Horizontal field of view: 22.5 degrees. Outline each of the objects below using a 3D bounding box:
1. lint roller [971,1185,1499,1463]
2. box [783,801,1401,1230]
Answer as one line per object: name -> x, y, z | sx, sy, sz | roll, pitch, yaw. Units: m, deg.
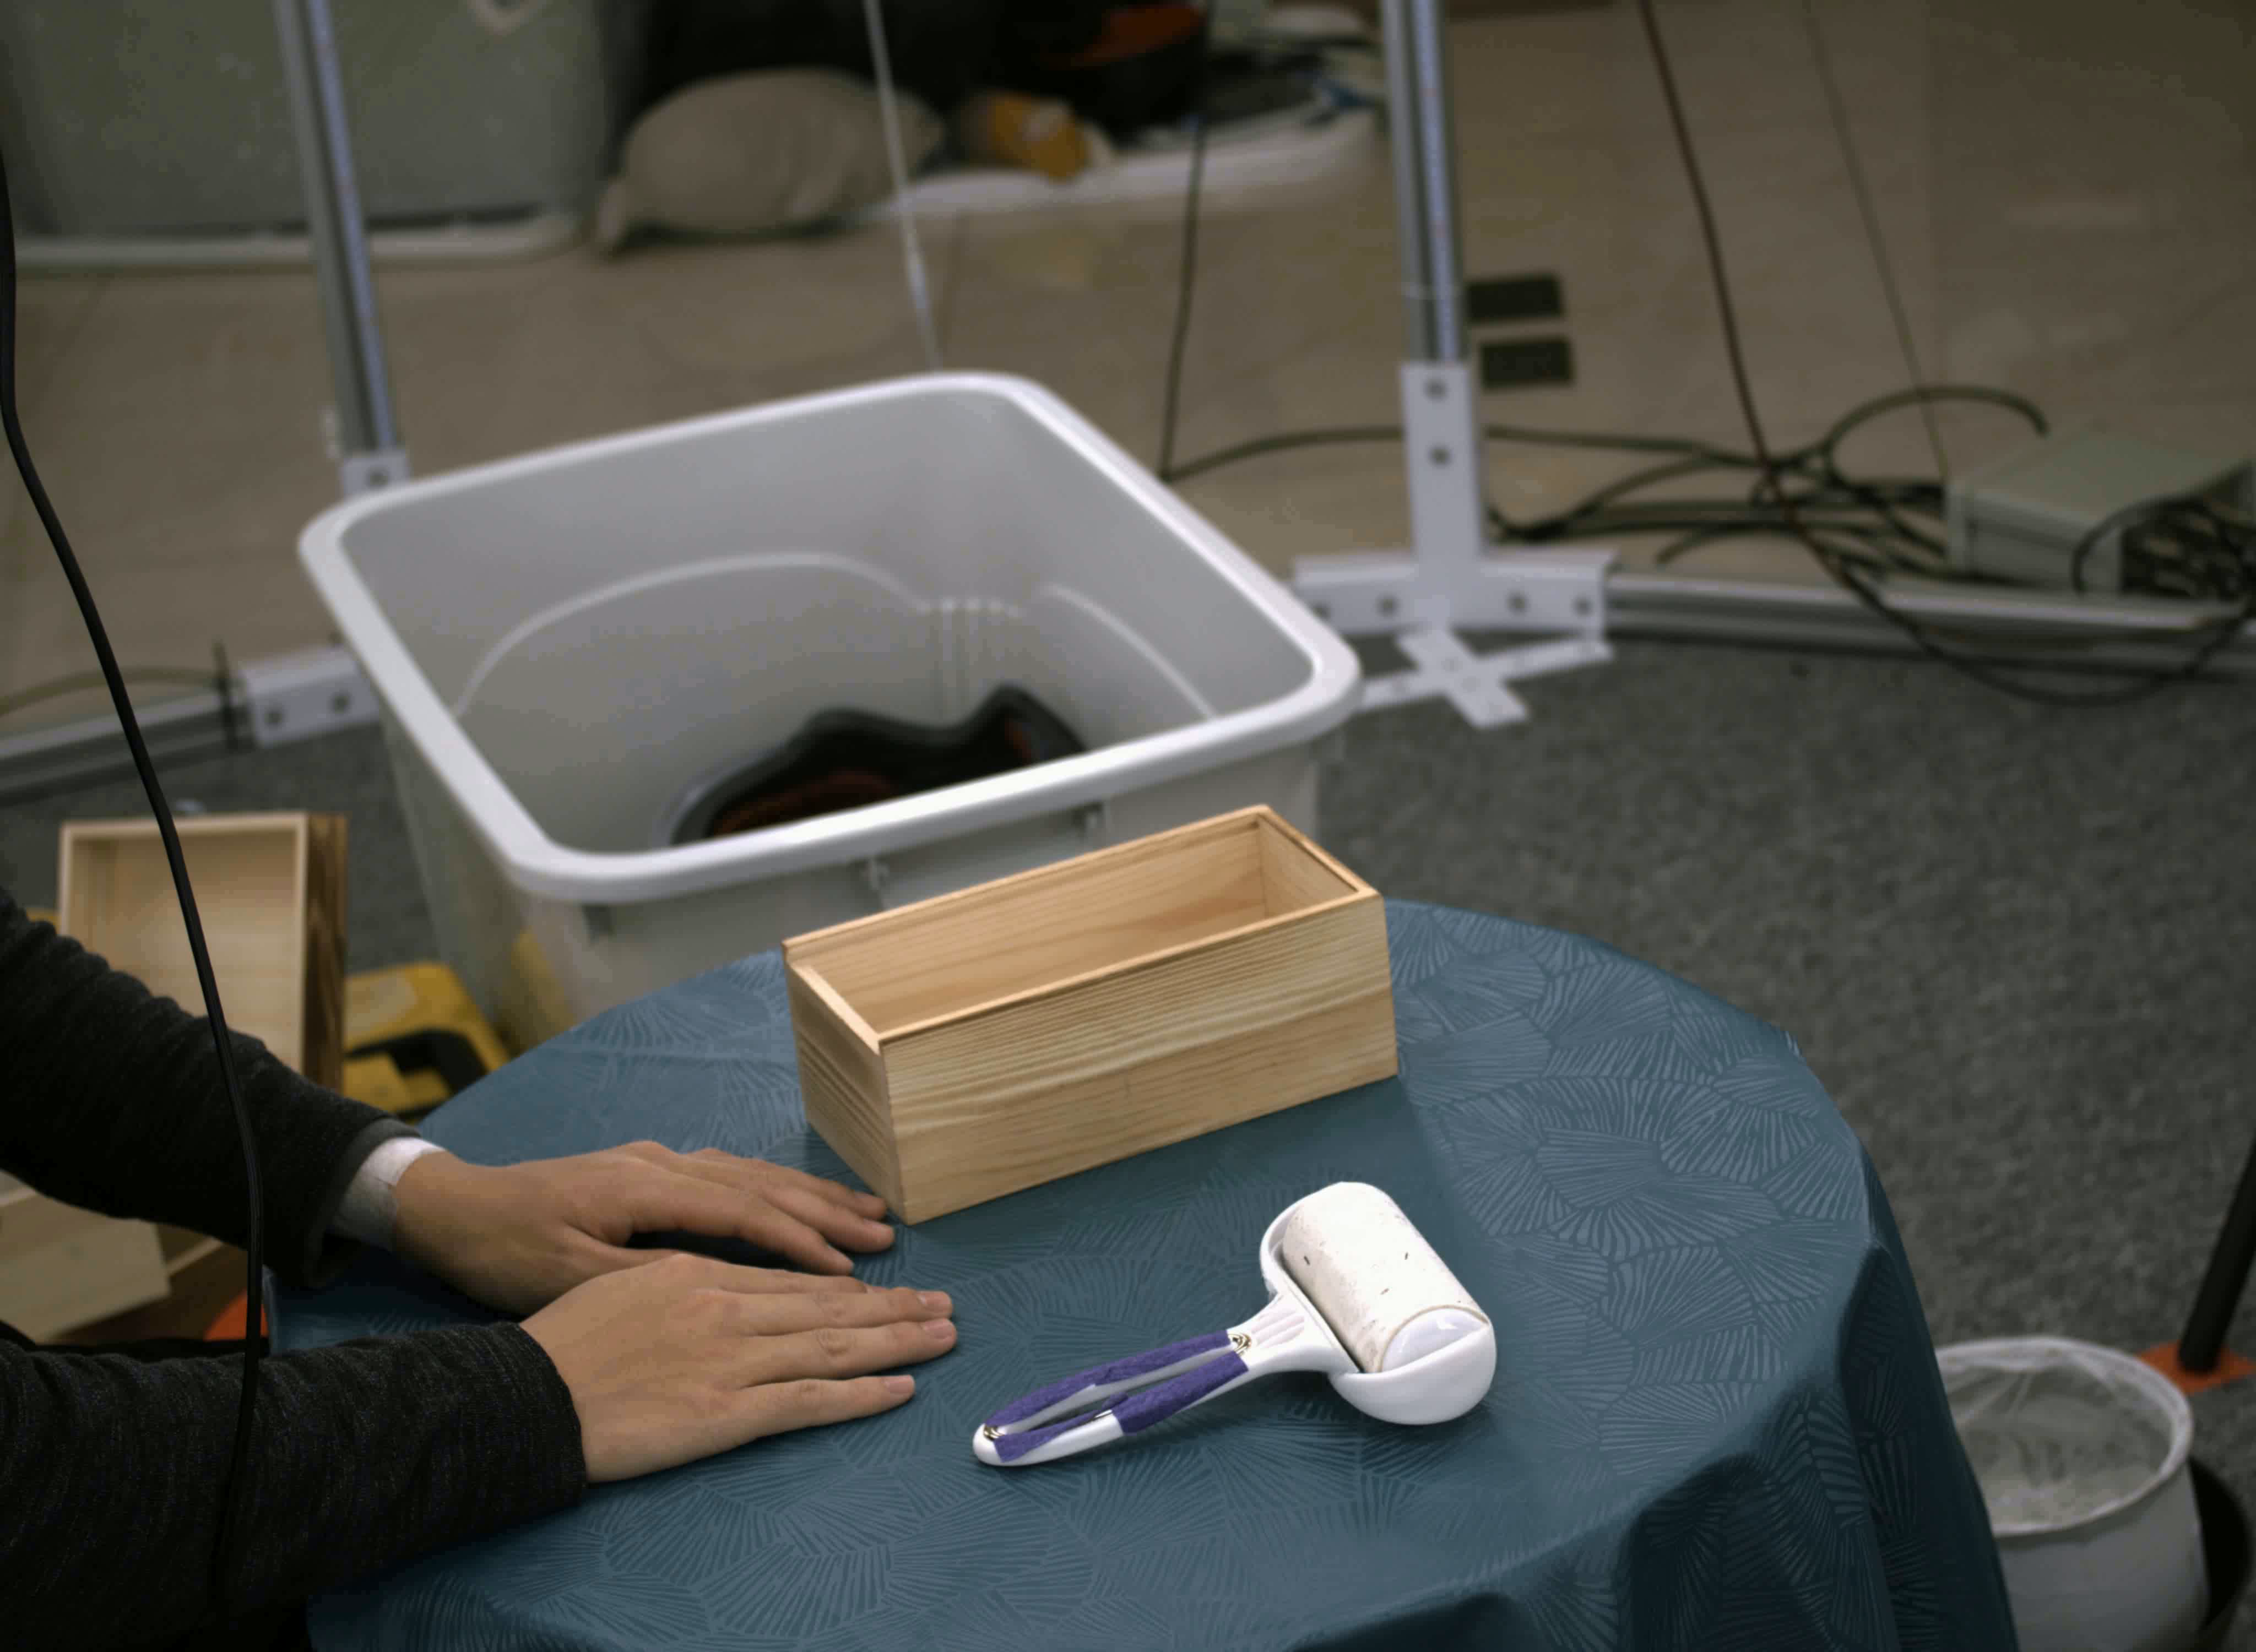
lint roller -> 0.029, 0.181, 1.994 | 0.180, 0.051, 0.131 | -10, 26, -13
box -> -0.014, 0.071, 2.202 | 0.210, 0.081, 0.106 | -17, 28, -19
